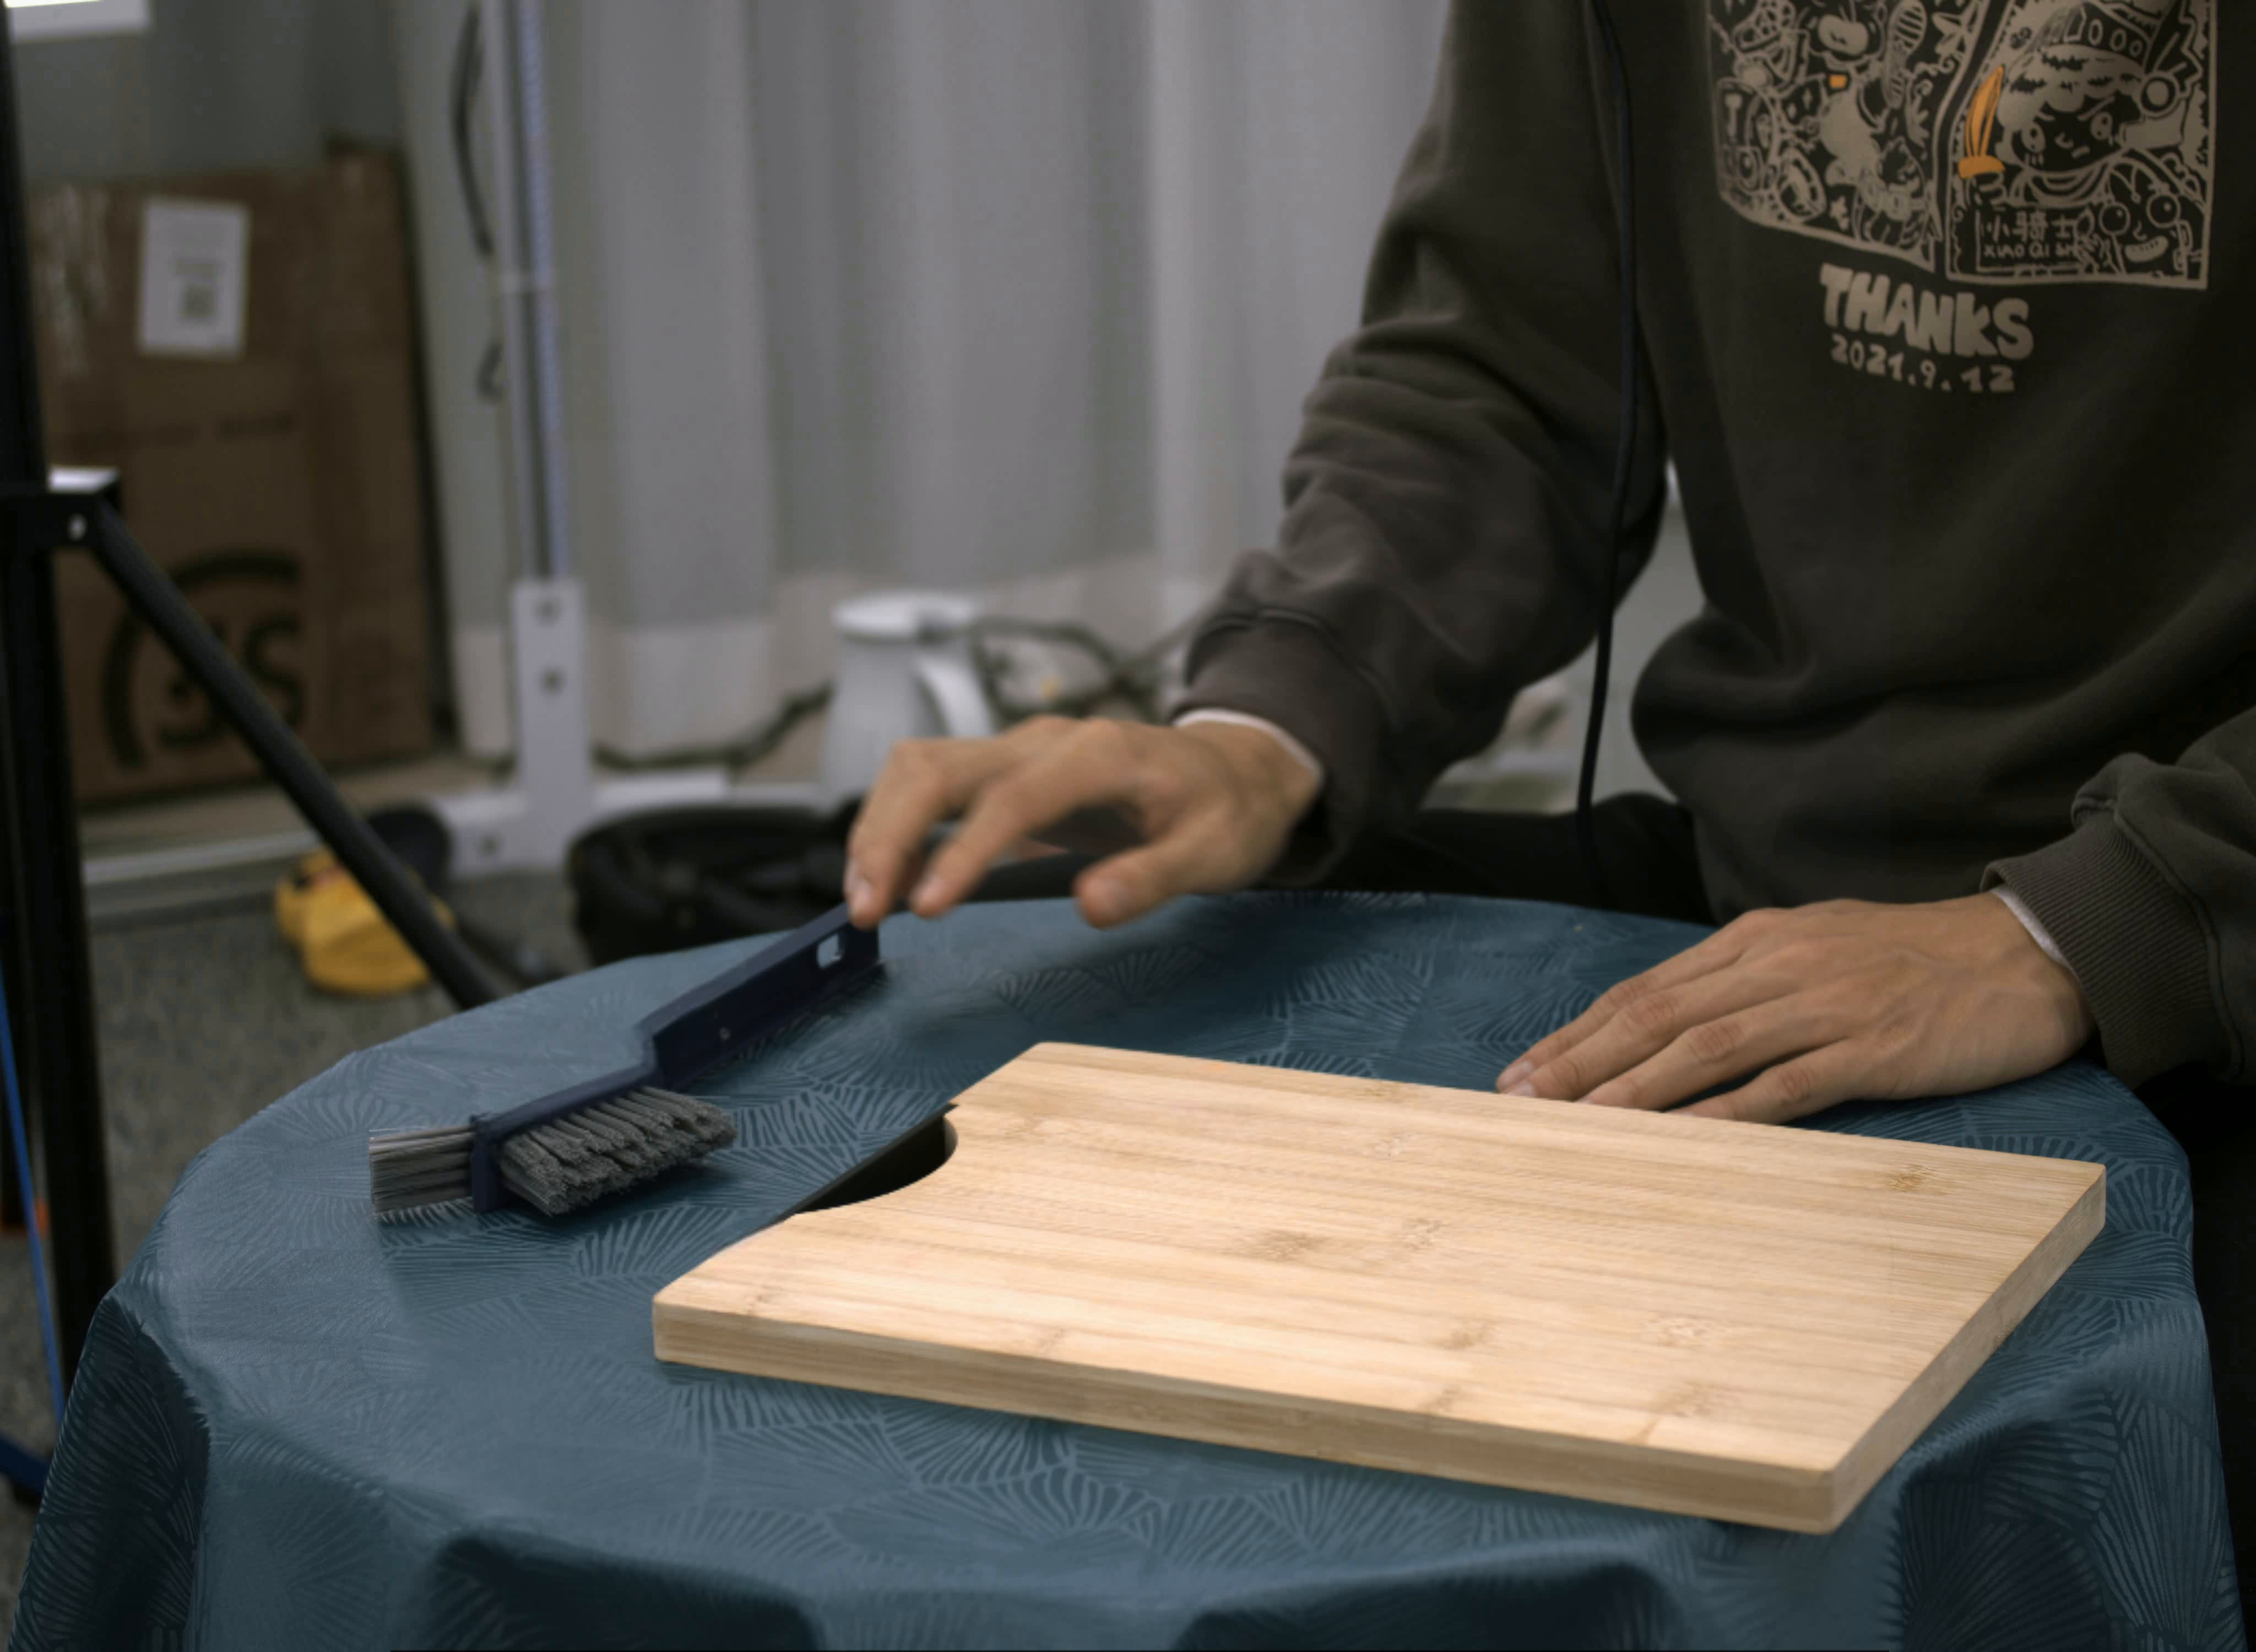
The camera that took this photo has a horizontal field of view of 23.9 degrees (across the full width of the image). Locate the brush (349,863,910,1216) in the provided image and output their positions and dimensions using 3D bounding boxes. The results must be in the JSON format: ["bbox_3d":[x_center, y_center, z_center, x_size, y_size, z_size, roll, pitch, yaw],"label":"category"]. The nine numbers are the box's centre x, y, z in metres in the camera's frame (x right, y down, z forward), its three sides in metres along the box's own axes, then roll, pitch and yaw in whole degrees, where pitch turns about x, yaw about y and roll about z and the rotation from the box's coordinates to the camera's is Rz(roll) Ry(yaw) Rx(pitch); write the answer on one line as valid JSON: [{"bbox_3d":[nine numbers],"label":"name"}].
[{"bbox_3d":[-0.146,0.066,1.679,0.097,0.033,0.270,3,18,19],"label":"brush"}]

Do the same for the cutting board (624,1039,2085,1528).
[{"bbox_3d":[0.067,0.121,1.475,0.354,0.023,0.247,5,17,26],"label":"cutting board"}]
